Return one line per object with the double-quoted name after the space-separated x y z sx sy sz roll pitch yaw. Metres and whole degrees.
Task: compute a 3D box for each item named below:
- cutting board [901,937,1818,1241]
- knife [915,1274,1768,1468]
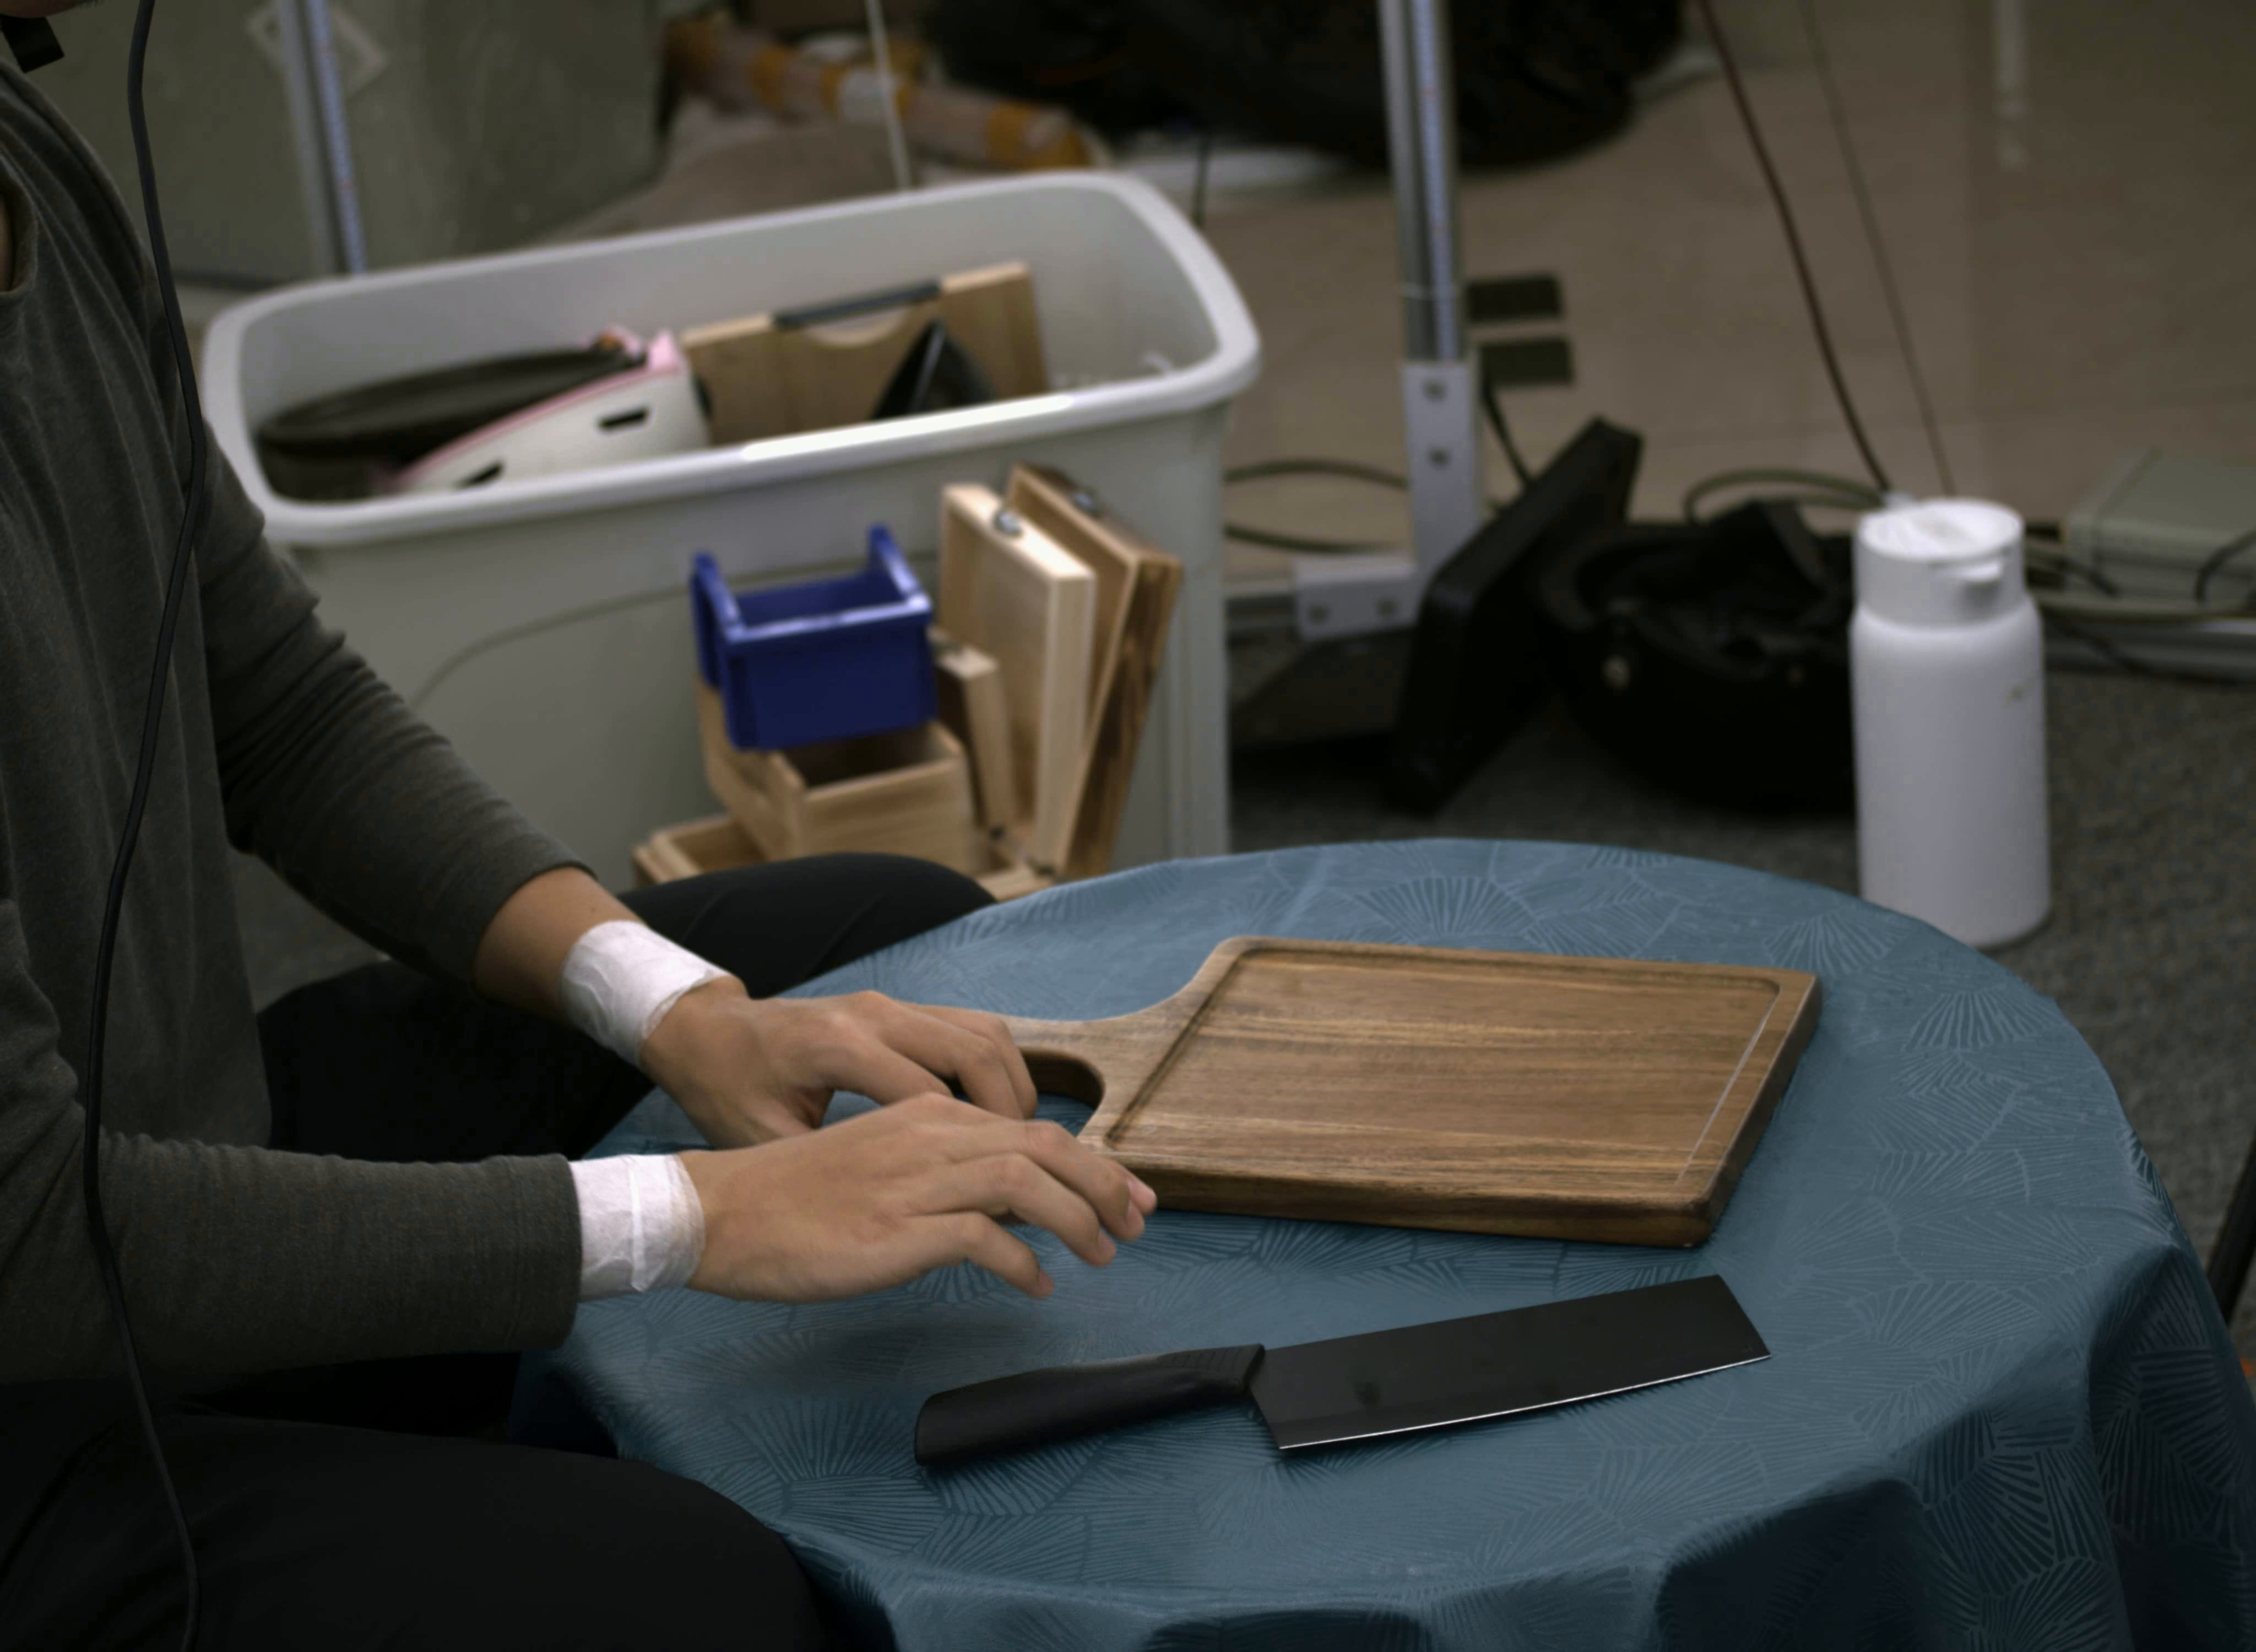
0.077 0.096 2.200 0.351 0.023 0.198 3 26 20 "cutting board"
0.074 0.195 1.996 0.302 0.021 0.080 -7 25 -6 "knife"
